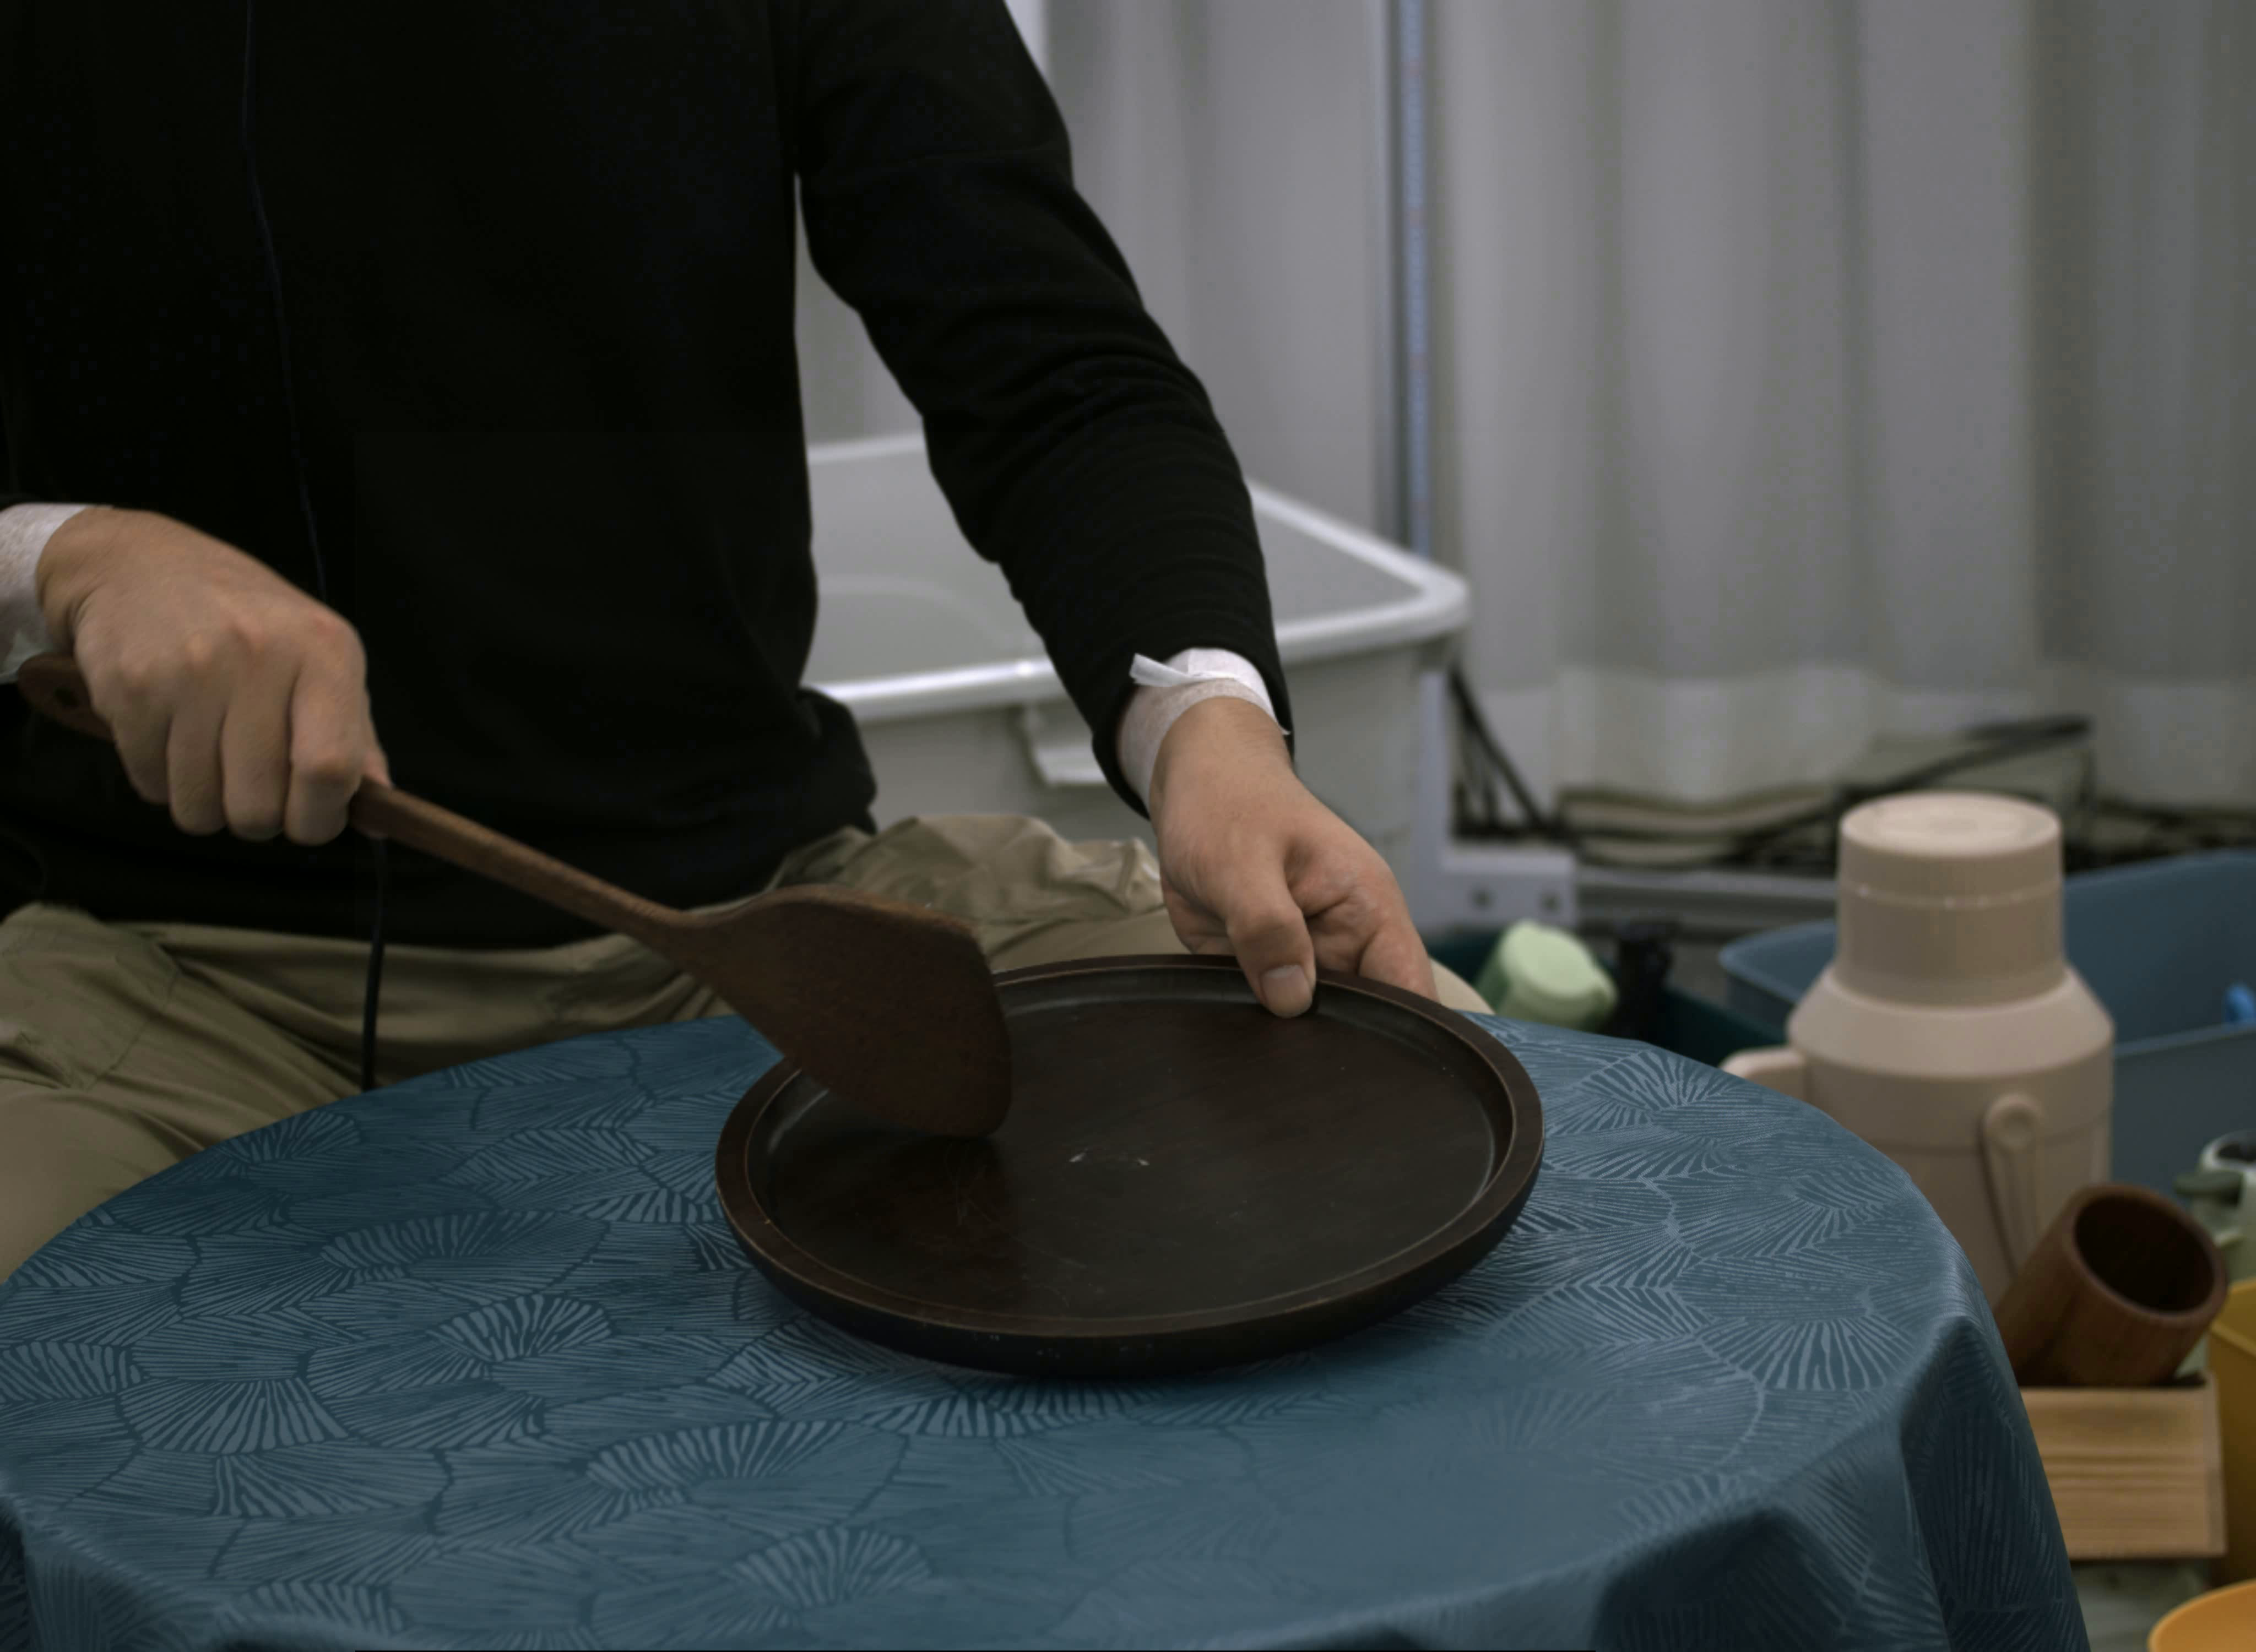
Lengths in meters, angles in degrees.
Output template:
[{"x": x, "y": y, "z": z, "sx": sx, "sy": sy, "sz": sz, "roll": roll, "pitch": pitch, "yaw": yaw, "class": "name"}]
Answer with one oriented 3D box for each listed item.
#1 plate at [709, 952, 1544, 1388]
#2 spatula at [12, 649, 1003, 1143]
[{"x": 0.000, "y": 0.102, "z": 1.655, "sx": 0.254, "sy": 0.029, "sz": 0.257, "roll": -3, "pitch": 25, "yaw": 1, "class": "plate"}, {"x": -0.201, "y": 0.009, "z": 1.718, "sx": 0.388, "sy": 0.095, "sz": 0.016, "roll": 21, "pitch": 47, "yaw": 27, "class": "spatula"}]
